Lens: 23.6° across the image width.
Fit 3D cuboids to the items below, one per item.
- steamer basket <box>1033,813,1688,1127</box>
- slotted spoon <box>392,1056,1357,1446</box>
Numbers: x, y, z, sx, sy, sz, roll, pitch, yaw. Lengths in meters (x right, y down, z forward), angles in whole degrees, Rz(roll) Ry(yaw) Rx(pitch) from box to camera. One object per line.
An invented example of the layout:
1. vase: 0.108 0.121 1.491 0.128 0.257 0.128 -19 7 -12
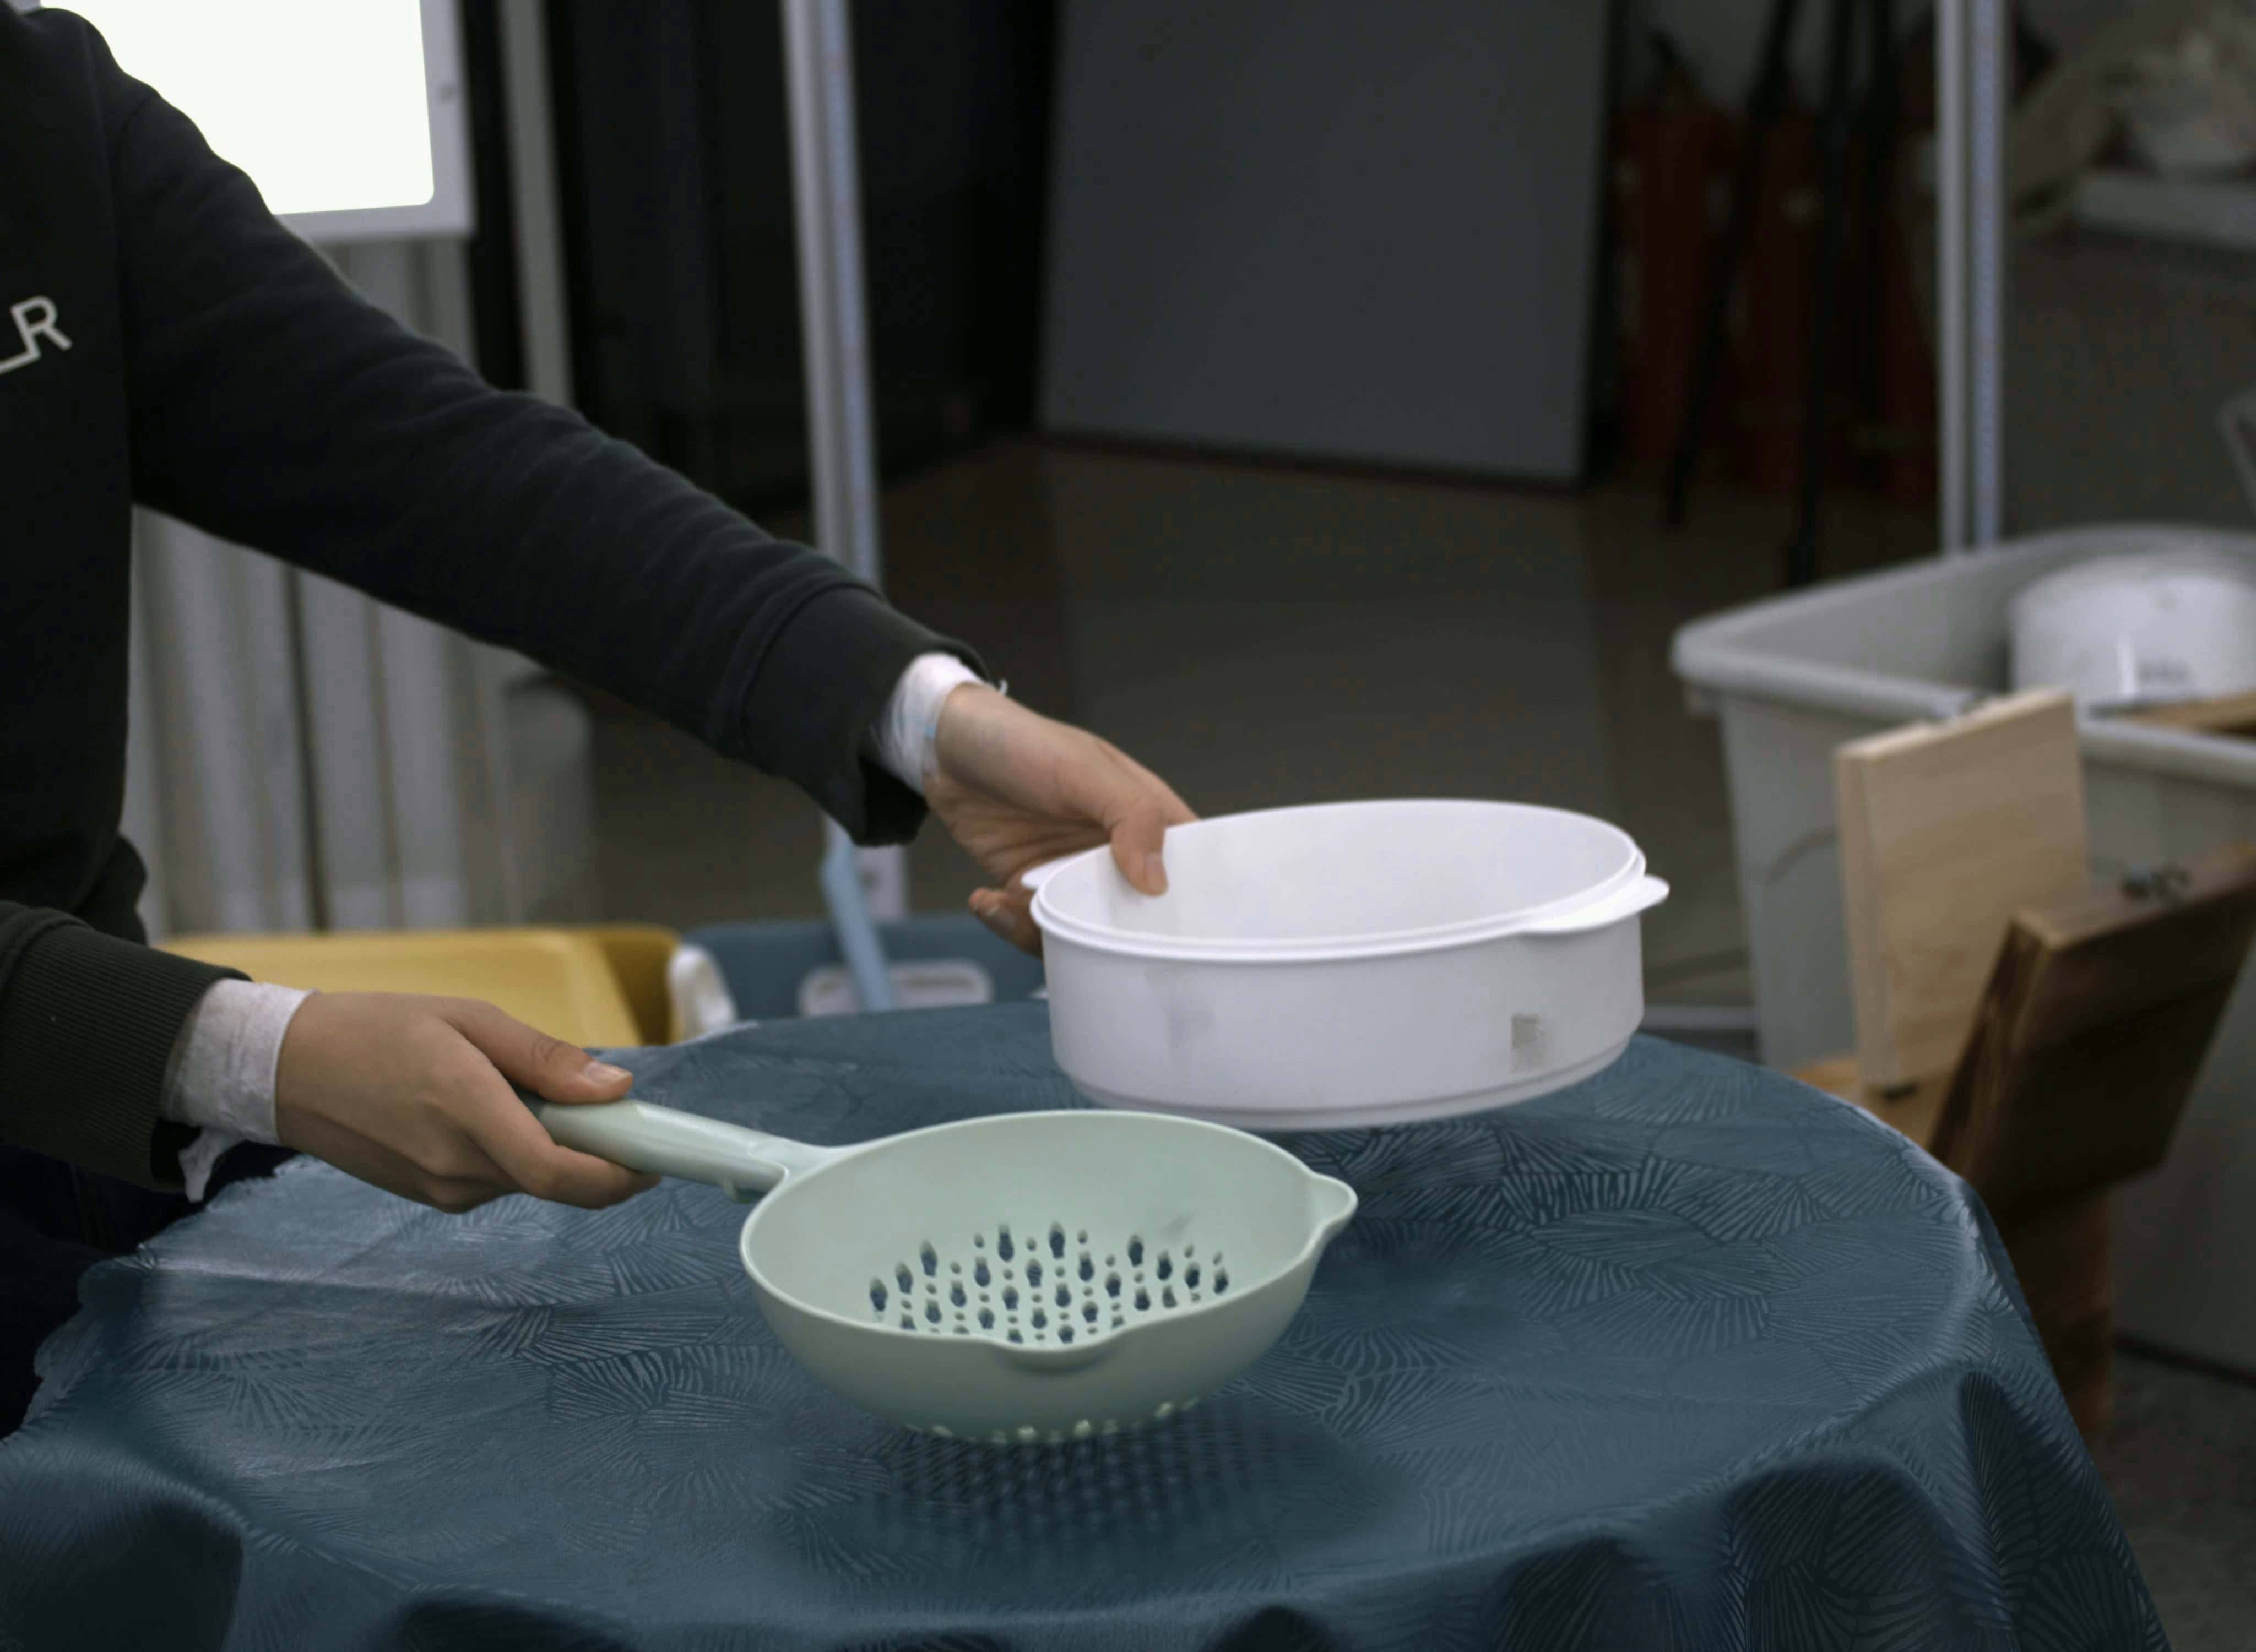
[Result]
1. steamer basket: 0.075 0.046 1.741 0.232 0.070 0.198 2 12 36
2. slotted spoon: -0.098 0.108 1.598 0.362 0.076 0.166 20 29 38
